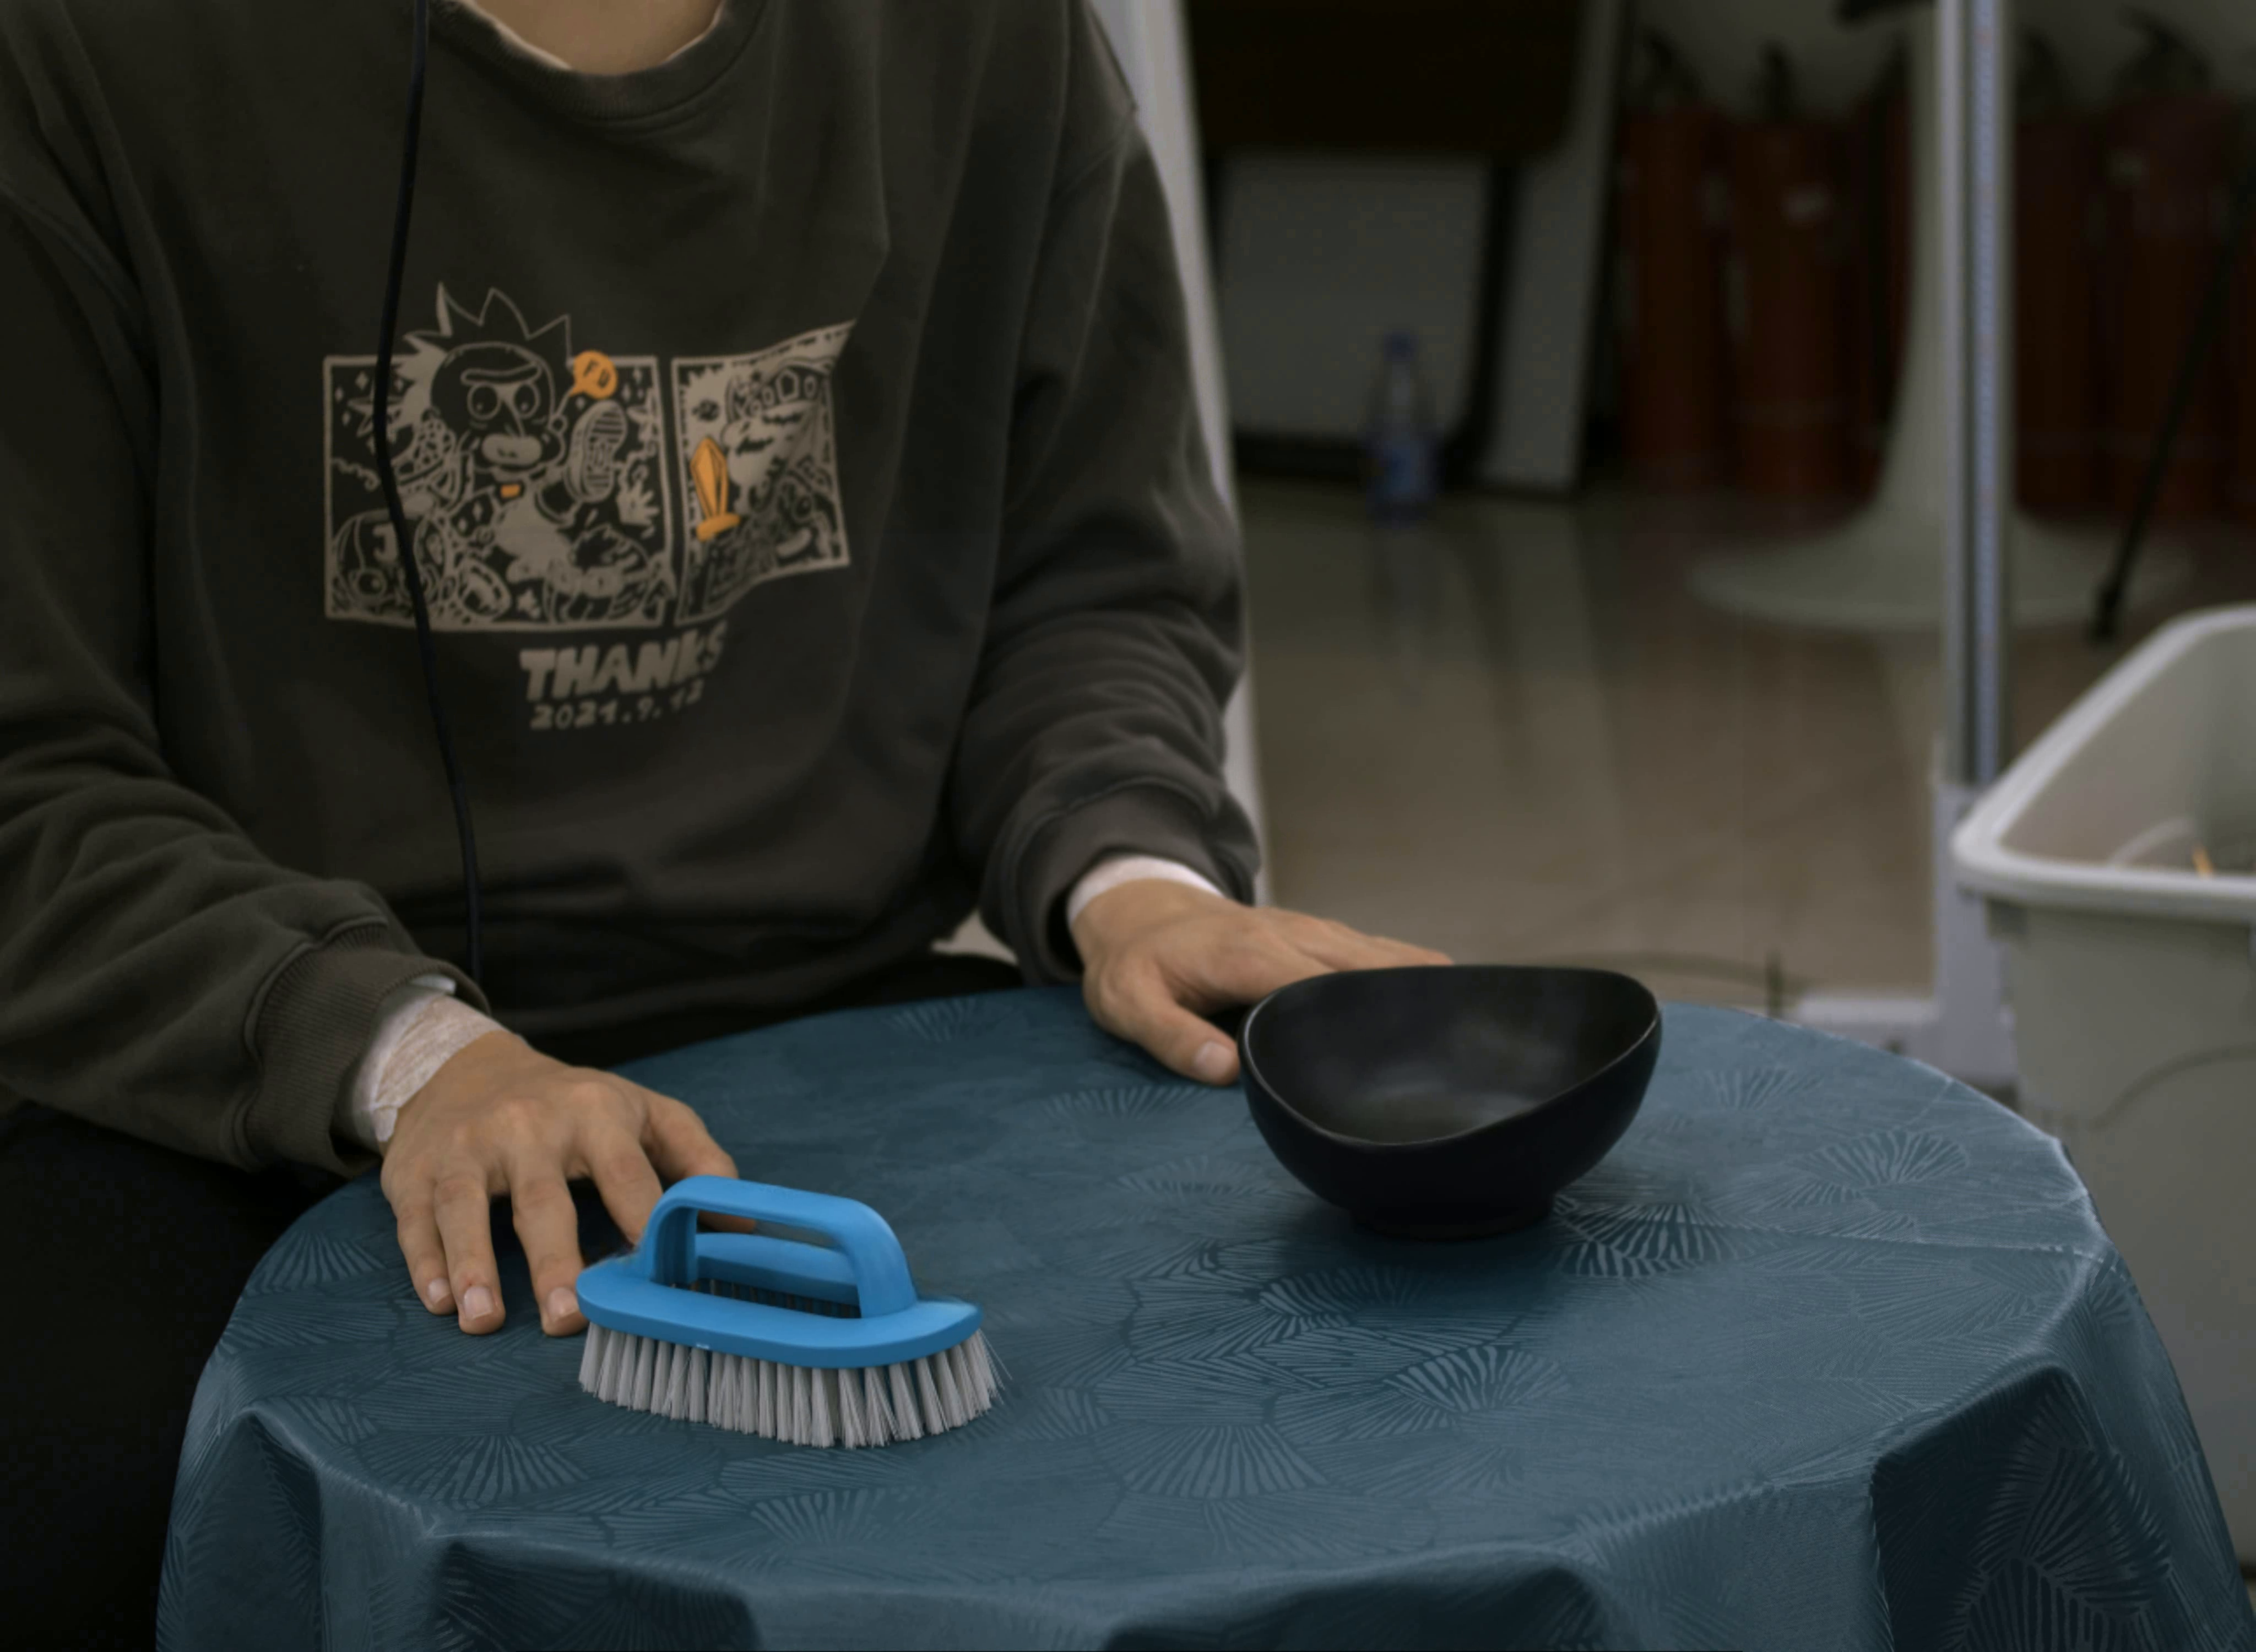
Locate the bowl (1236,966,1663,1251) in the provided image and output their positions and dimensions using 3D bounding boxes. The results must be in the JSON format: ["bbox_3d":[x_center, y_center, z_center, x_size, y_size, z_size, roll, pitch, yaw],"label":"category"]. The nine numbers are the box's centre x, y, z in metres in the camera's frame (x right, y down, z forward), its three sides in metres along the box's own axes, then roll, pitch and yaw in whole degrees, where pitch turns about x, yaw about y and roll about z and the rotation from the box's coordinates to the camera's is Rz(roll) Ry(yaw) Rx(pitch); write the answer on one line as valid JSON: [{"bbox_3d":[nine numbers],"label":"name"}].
[{"bbox_3d":[0.104,0.094,1.725,0.137,0.067,0.169,-1,15,15],"label":"bowl"}]

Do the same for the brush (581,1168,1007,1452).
[{"bbox_3d":[-0.104,0.136,1.605,0.143,0.064,0.083,5,21,39],"label":"brush"}]
